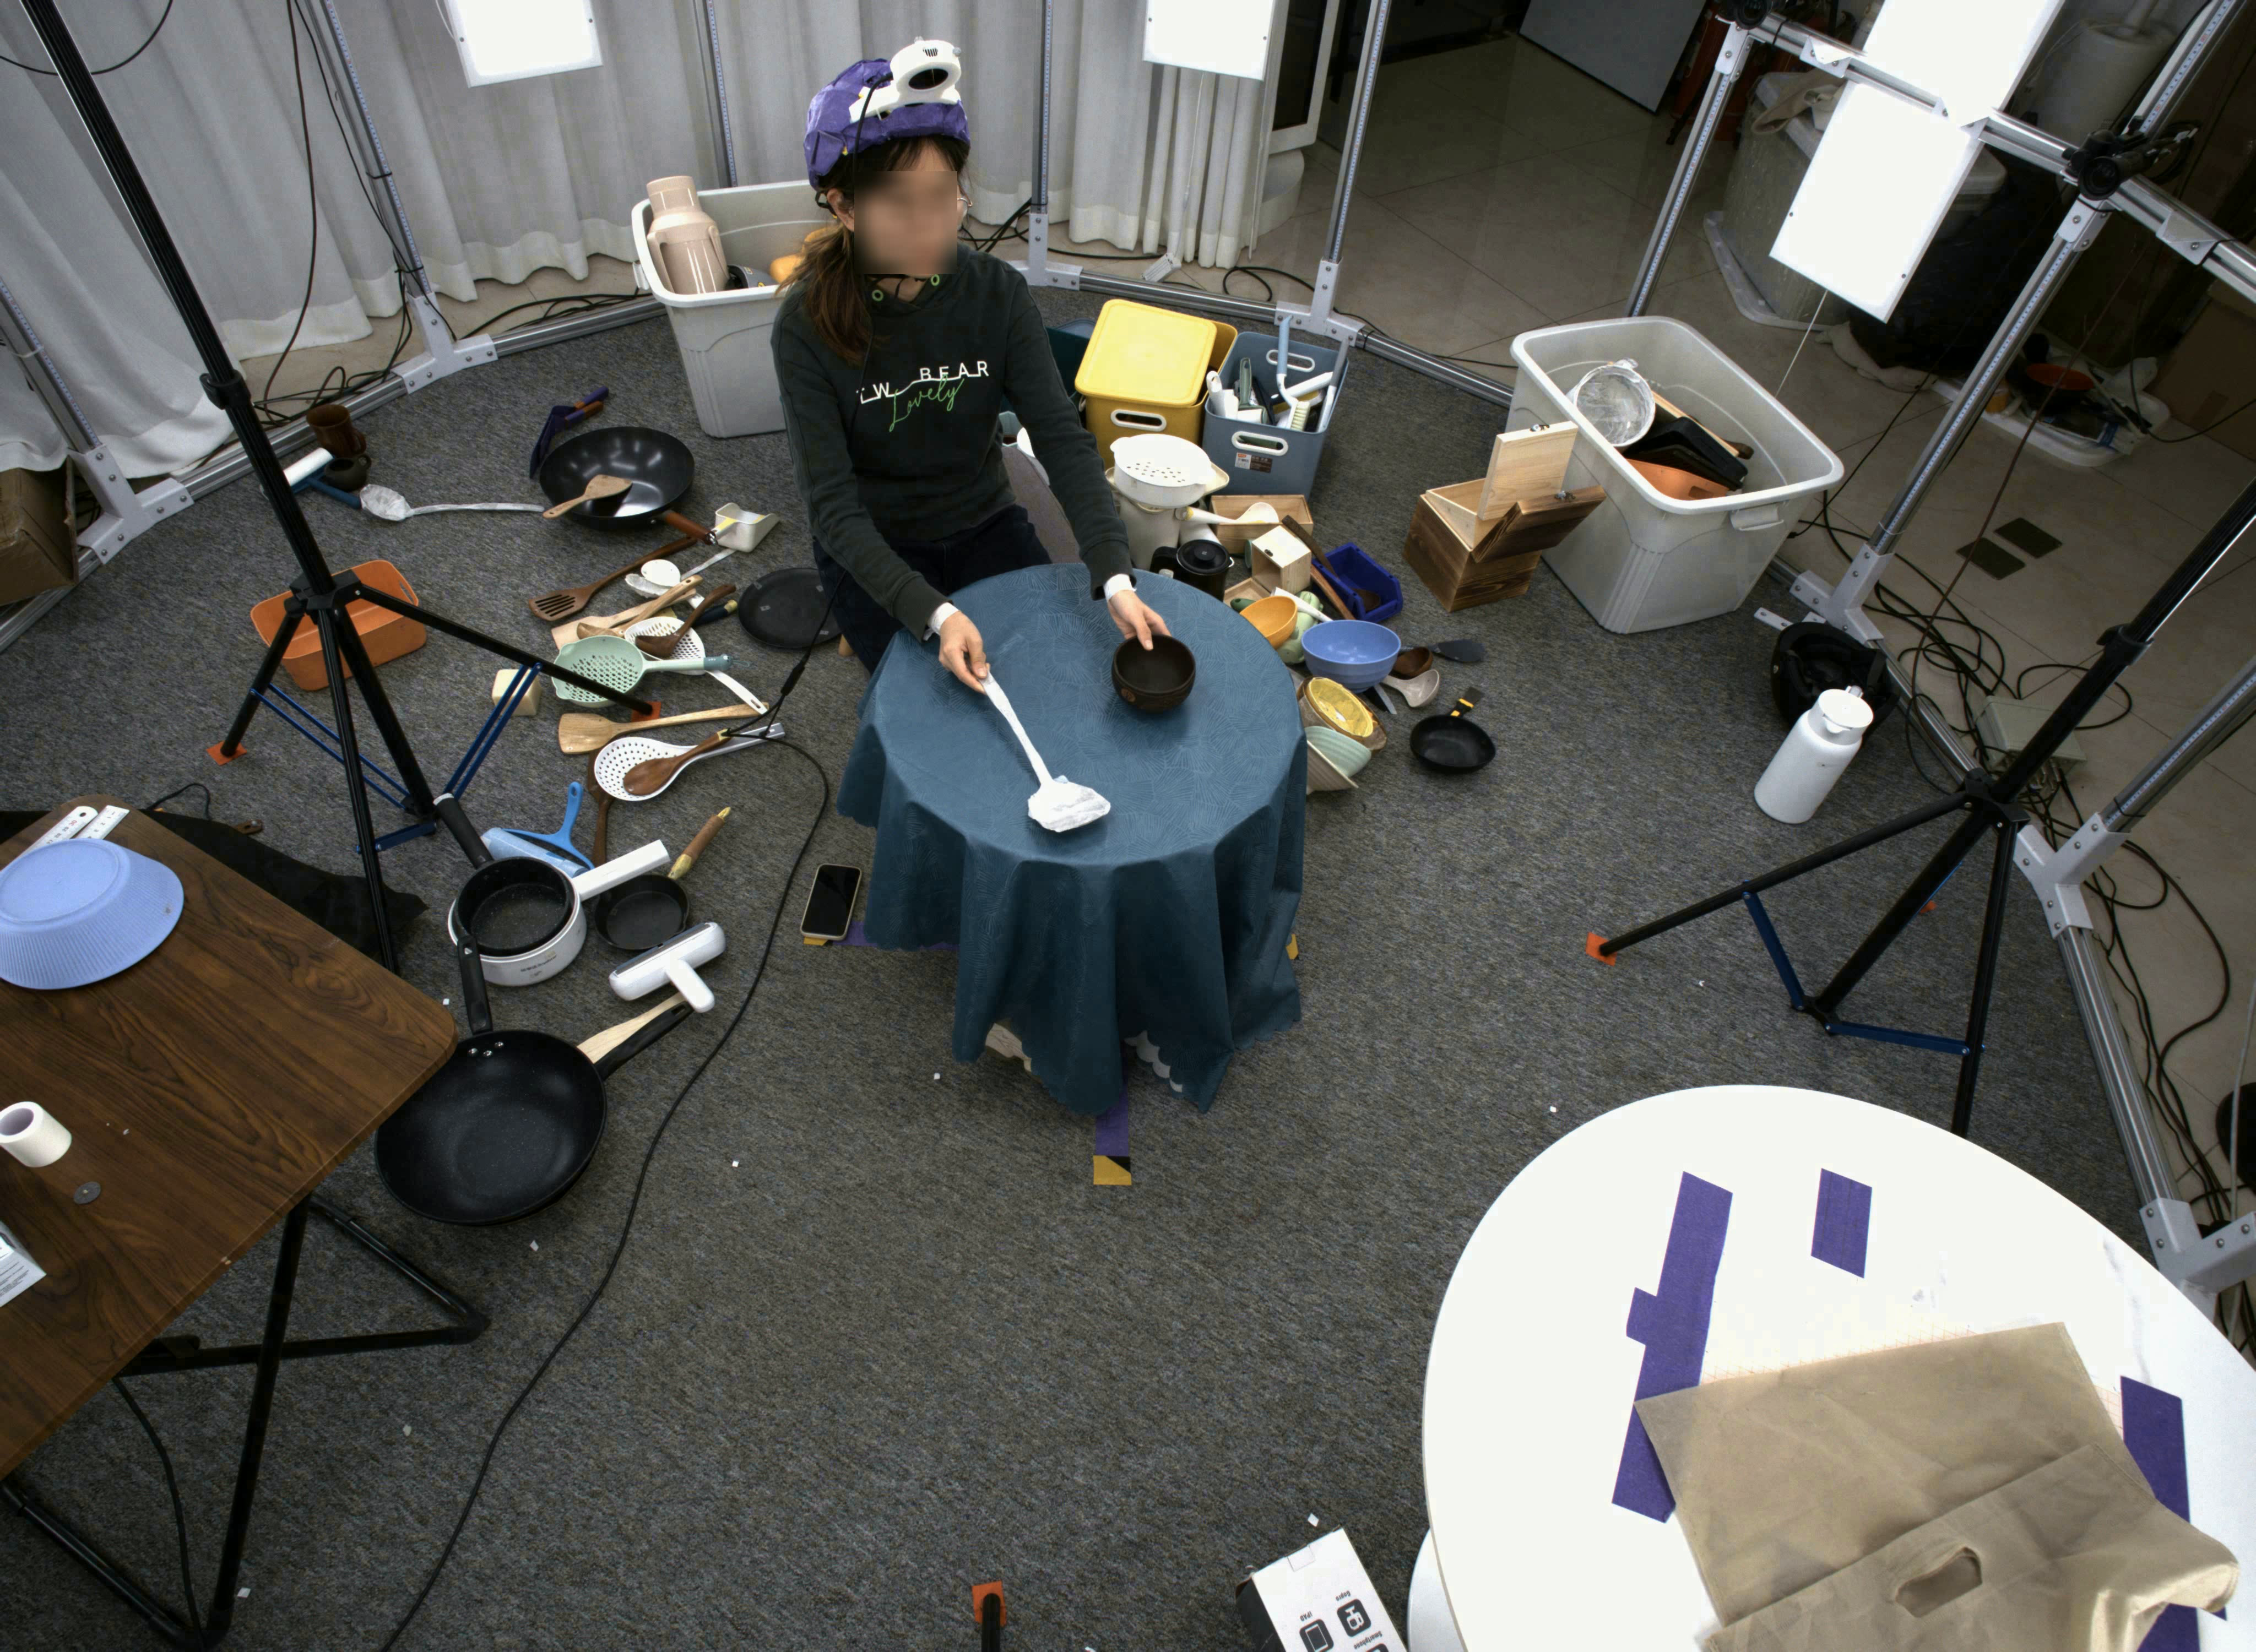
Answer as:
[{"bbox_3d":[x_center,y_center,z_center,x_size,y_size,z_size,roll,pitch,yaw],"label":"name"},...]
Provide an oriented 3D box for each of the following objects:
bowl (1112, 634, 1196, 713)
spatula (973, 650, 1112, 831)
[{"bbox_3d":[0.035,-0.208,1.819,0.118,0.068,0.121,2,51,-3],"label":"bowl"},{"bbox_3d":[-0.139,-0.126,1.748,0.099,0.044,0.372,-20,58,-19],"label":"spatula"}]
